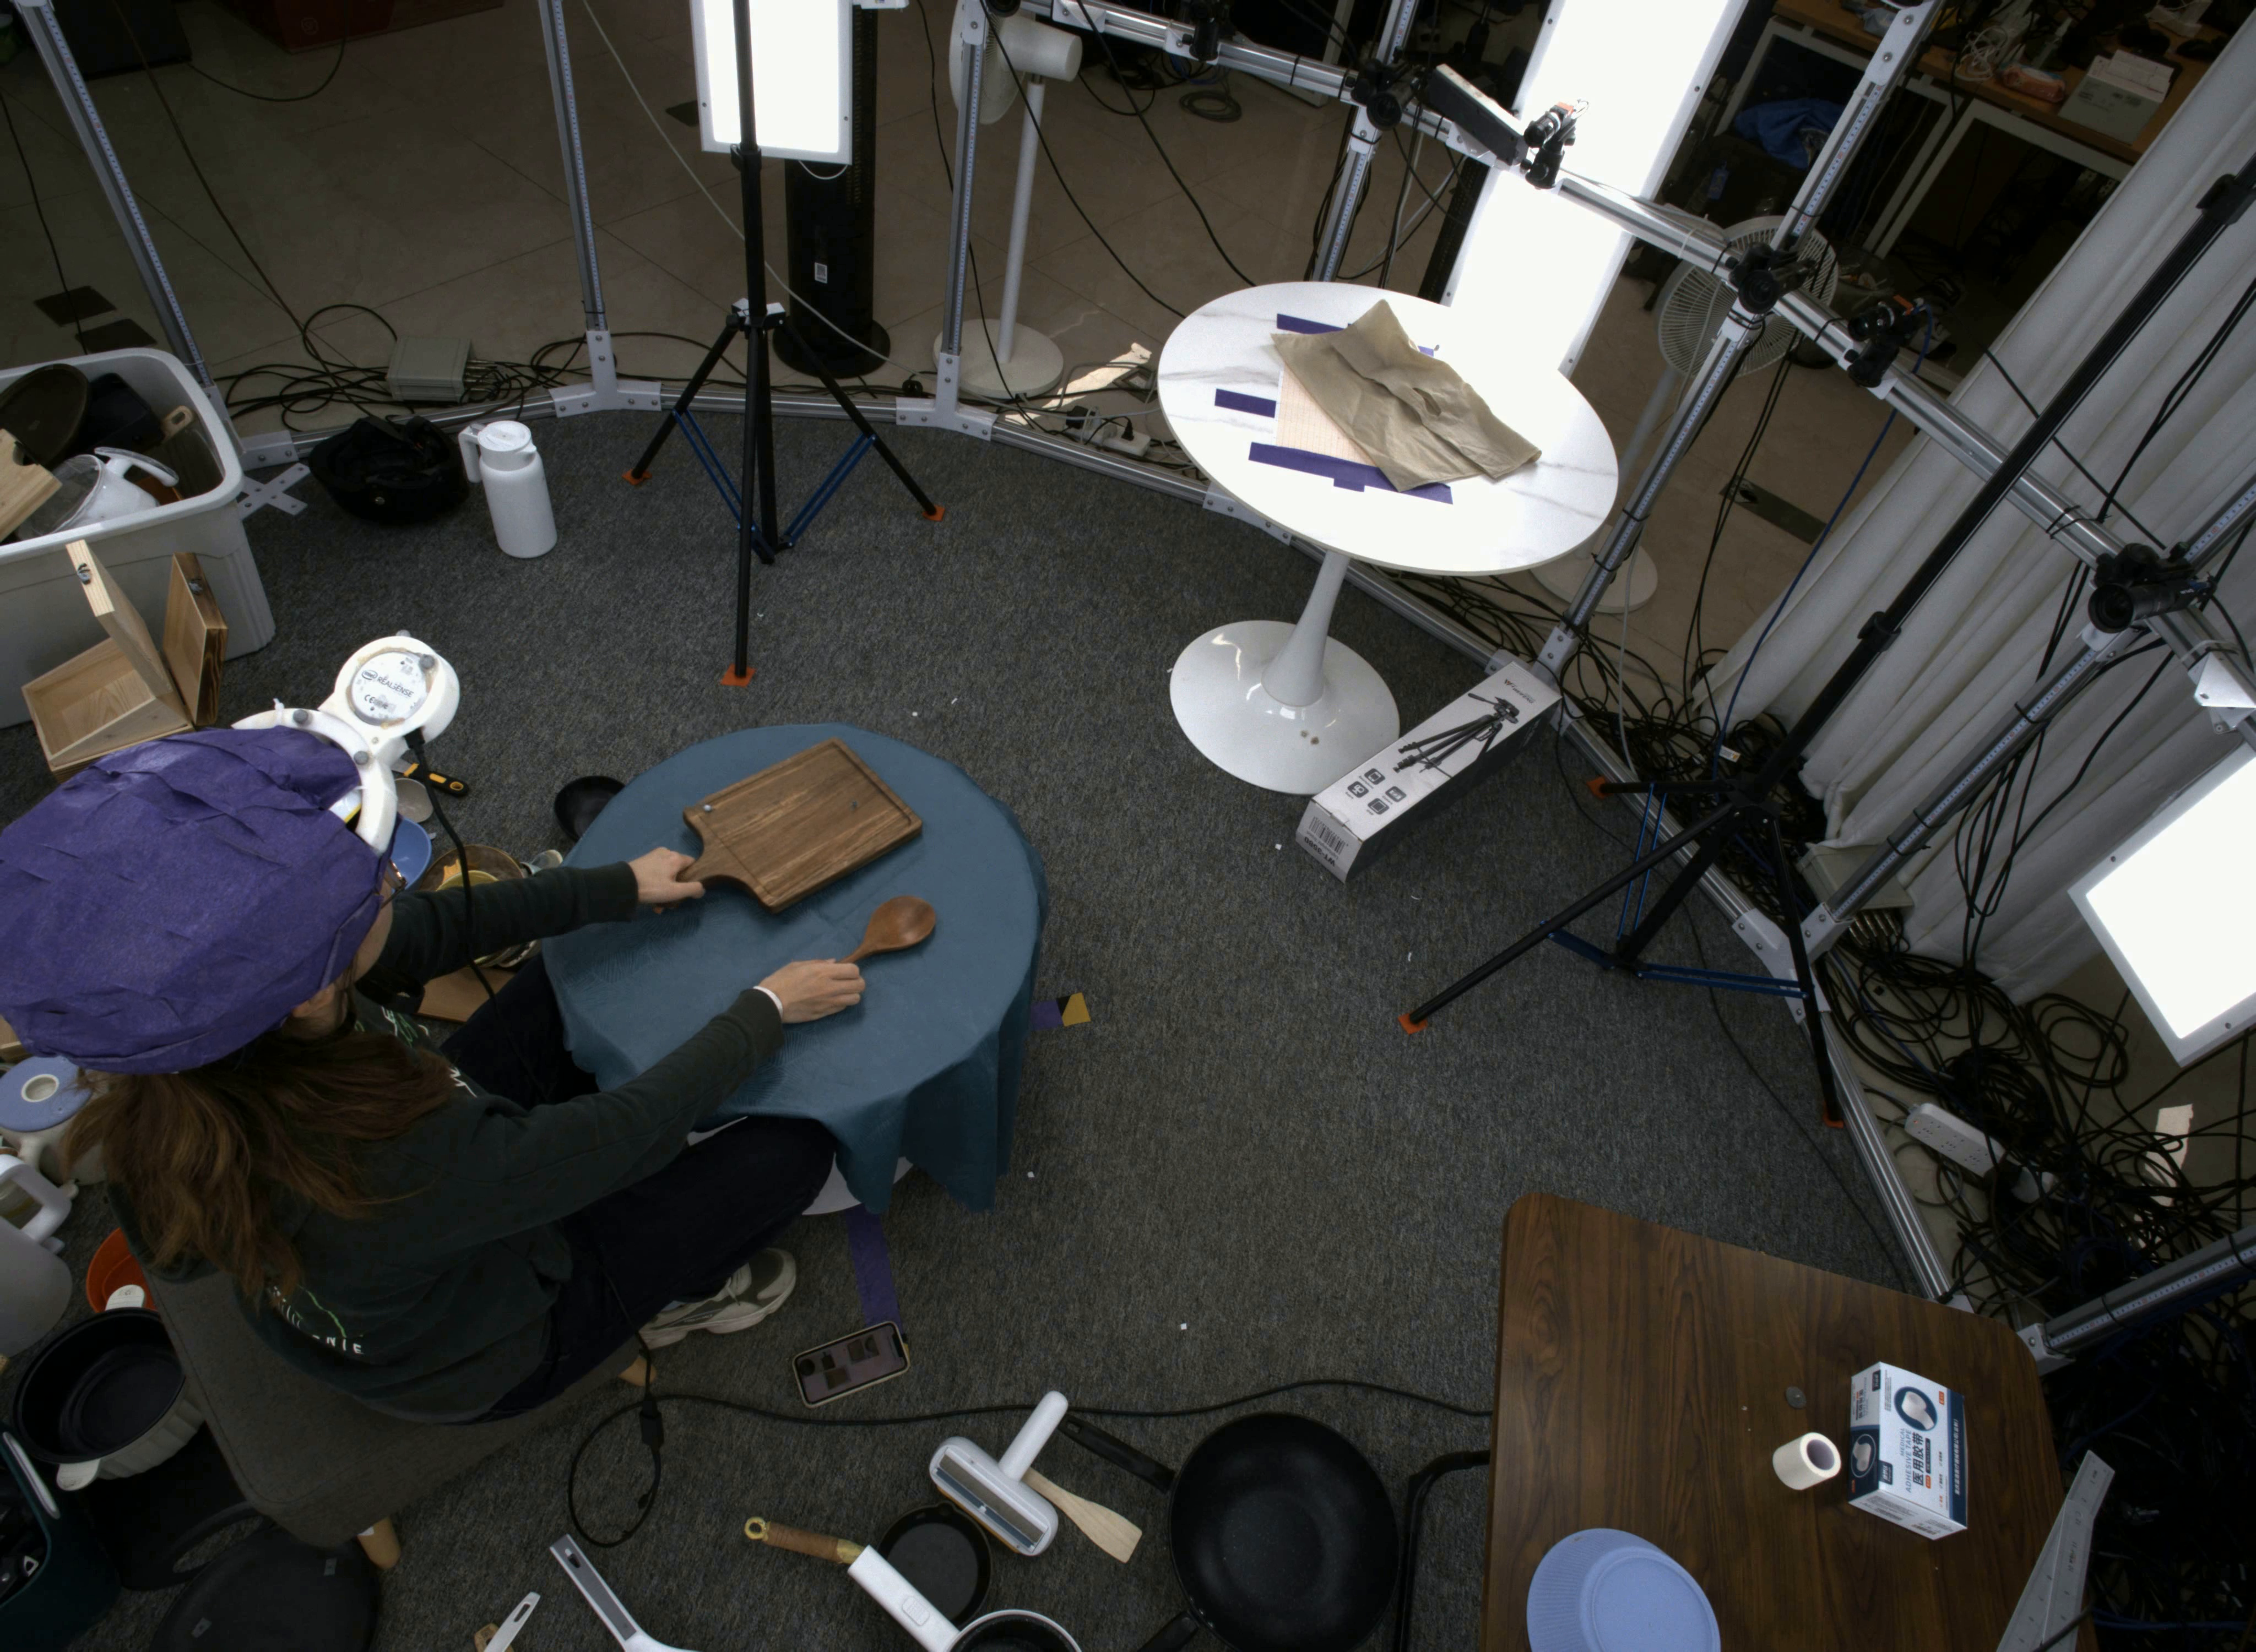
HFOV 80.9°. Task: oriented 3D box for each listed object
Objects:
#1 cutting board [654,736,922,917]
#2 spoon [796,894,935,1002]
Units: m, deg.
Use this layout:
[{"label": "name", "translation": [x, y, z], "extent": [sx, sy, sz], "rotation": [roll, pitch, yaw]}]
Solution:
[{"label": "cutting board", "translation": [-0.460, 0.014, 1.679], "extent": [0.197, 0.023, 0.353], "rotation": [44, 51, 17]}, {"label": "spoon", "translation": [-0.328, 0.152, 1.620], "extent": [0.074, 0.017, 0.216], "rotation": [40, 48, 14]}]
